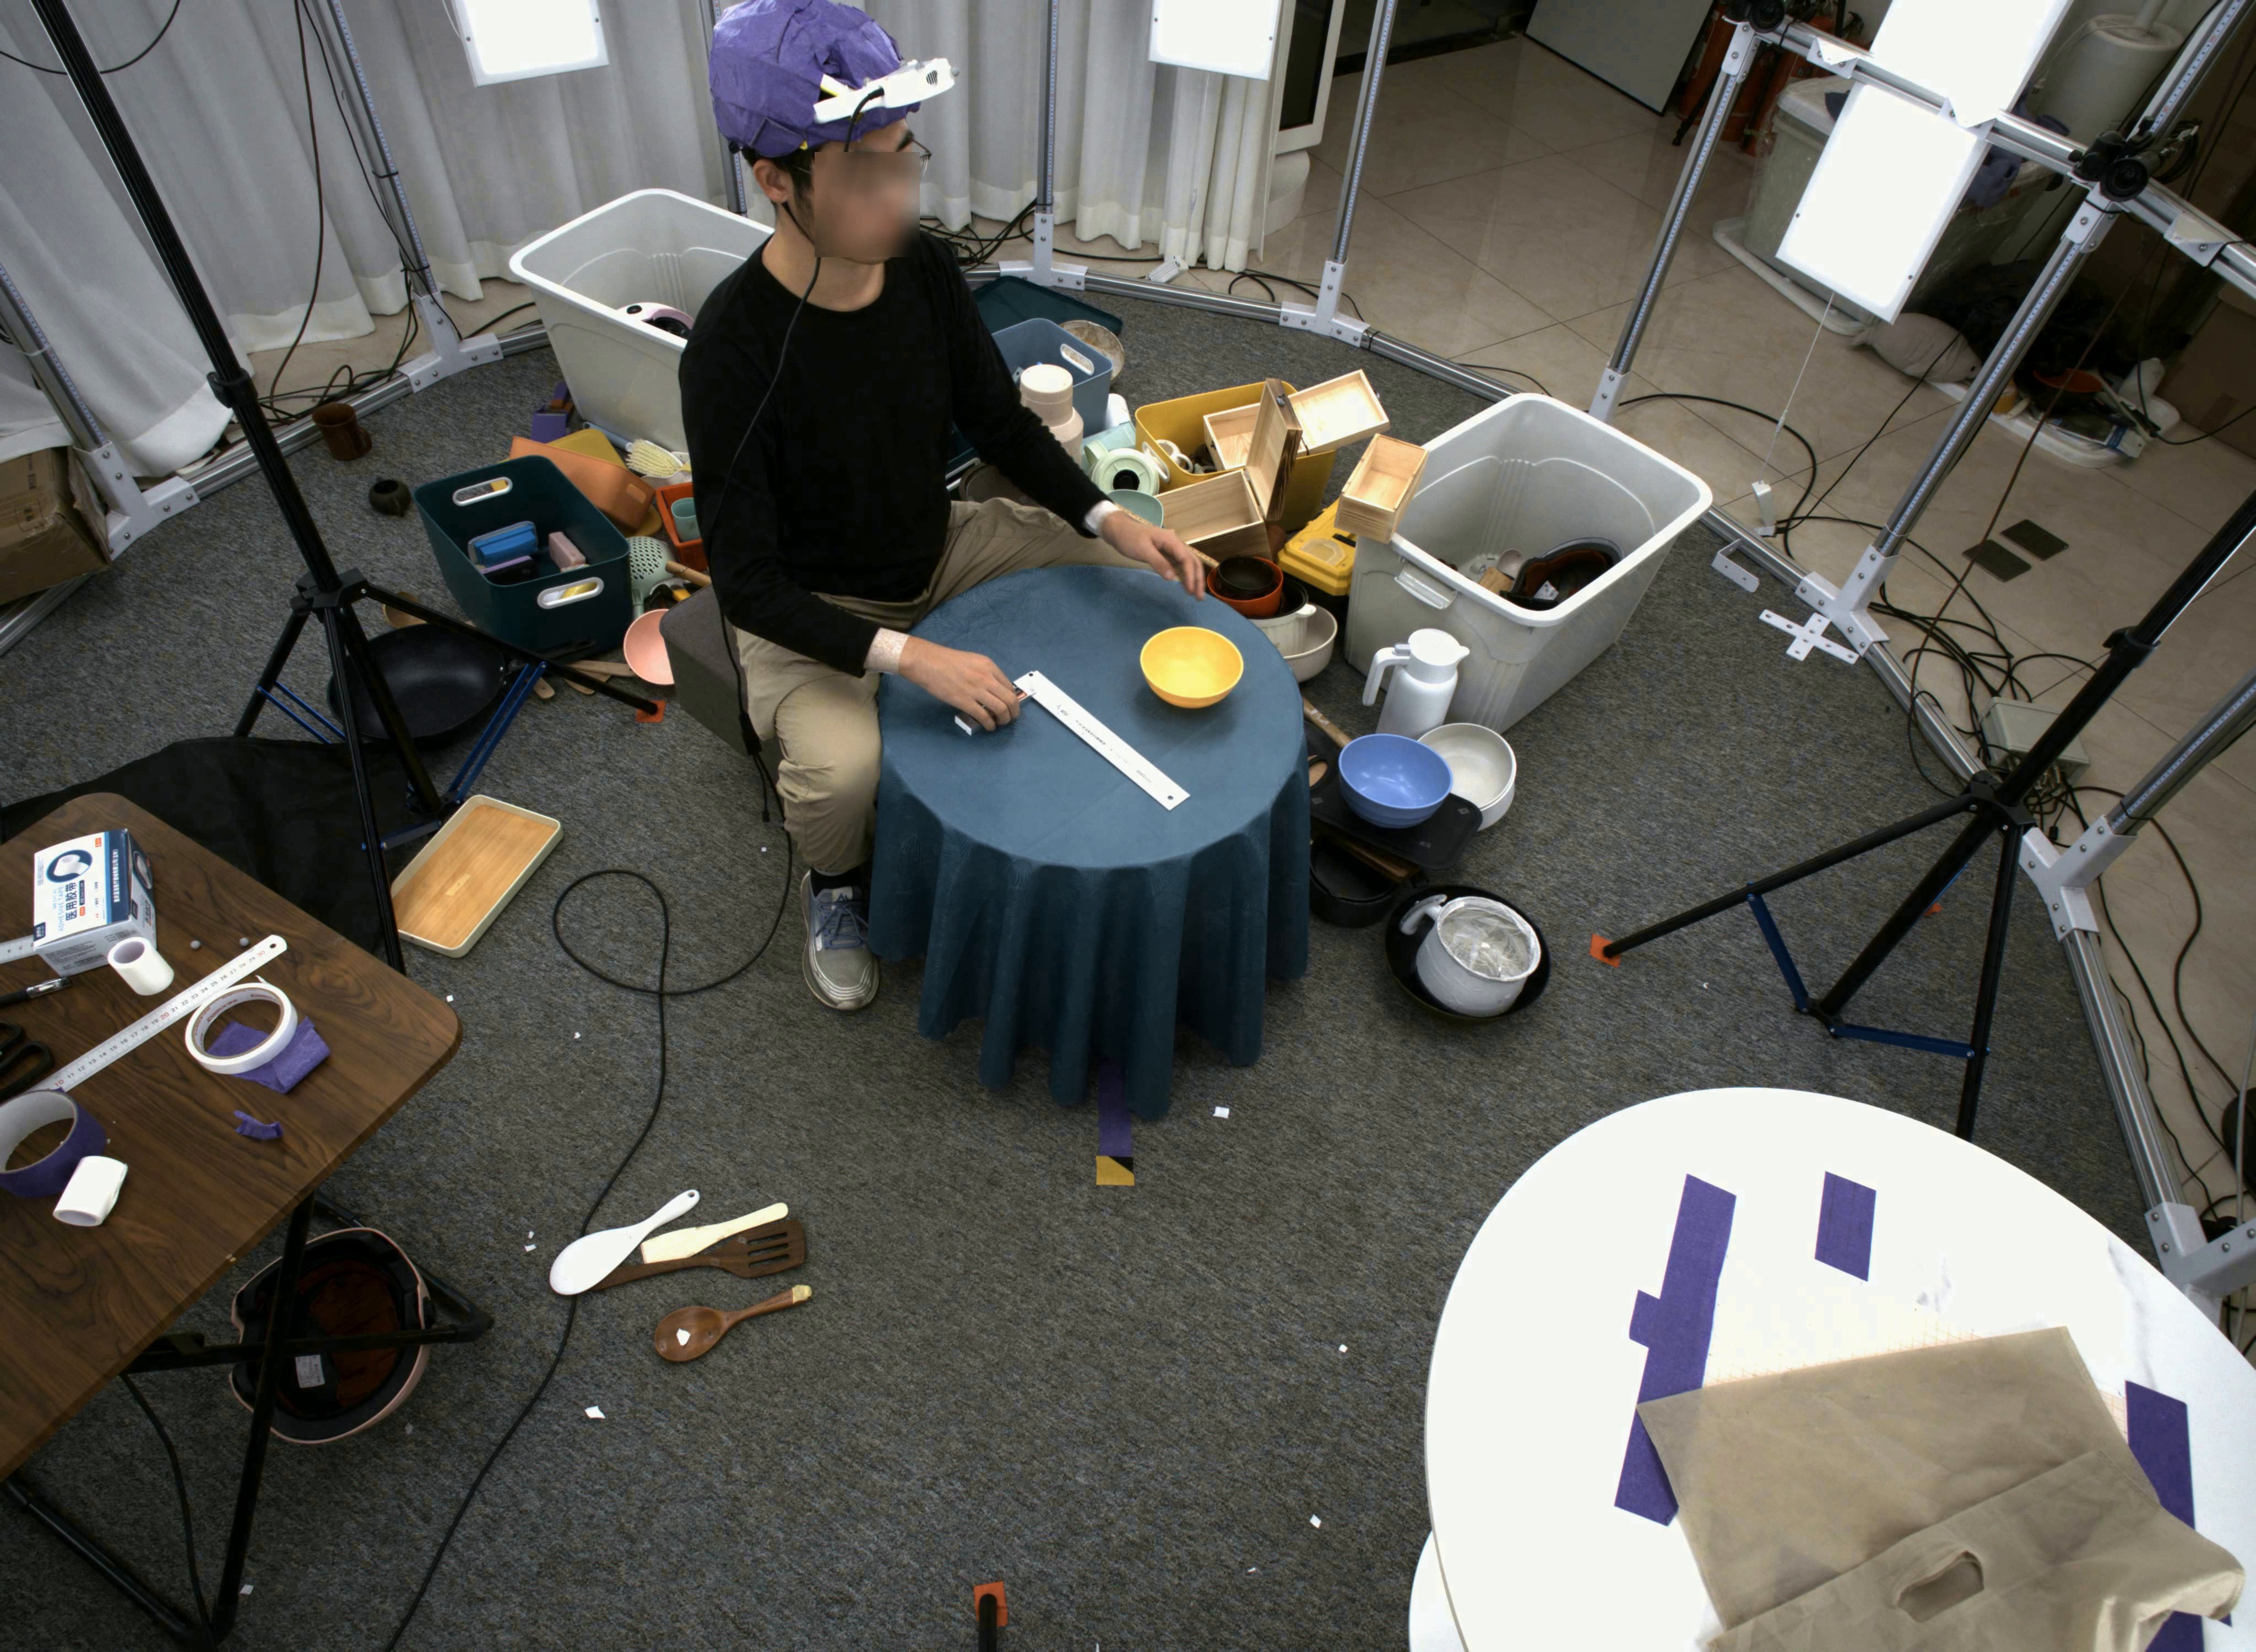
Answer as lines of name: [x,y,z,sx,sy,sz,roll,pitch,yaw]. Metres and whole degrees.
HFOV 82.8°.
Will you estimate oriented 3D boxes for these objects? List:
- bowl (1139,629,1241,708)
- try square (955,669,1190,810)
bowl: [0.085,-0.212,1.824,0.145,0.058,0.149,2,46,-3]
try square: [-0.078,-0.095,1.746,0.153,0.015,0.318,-36,61,-26]
